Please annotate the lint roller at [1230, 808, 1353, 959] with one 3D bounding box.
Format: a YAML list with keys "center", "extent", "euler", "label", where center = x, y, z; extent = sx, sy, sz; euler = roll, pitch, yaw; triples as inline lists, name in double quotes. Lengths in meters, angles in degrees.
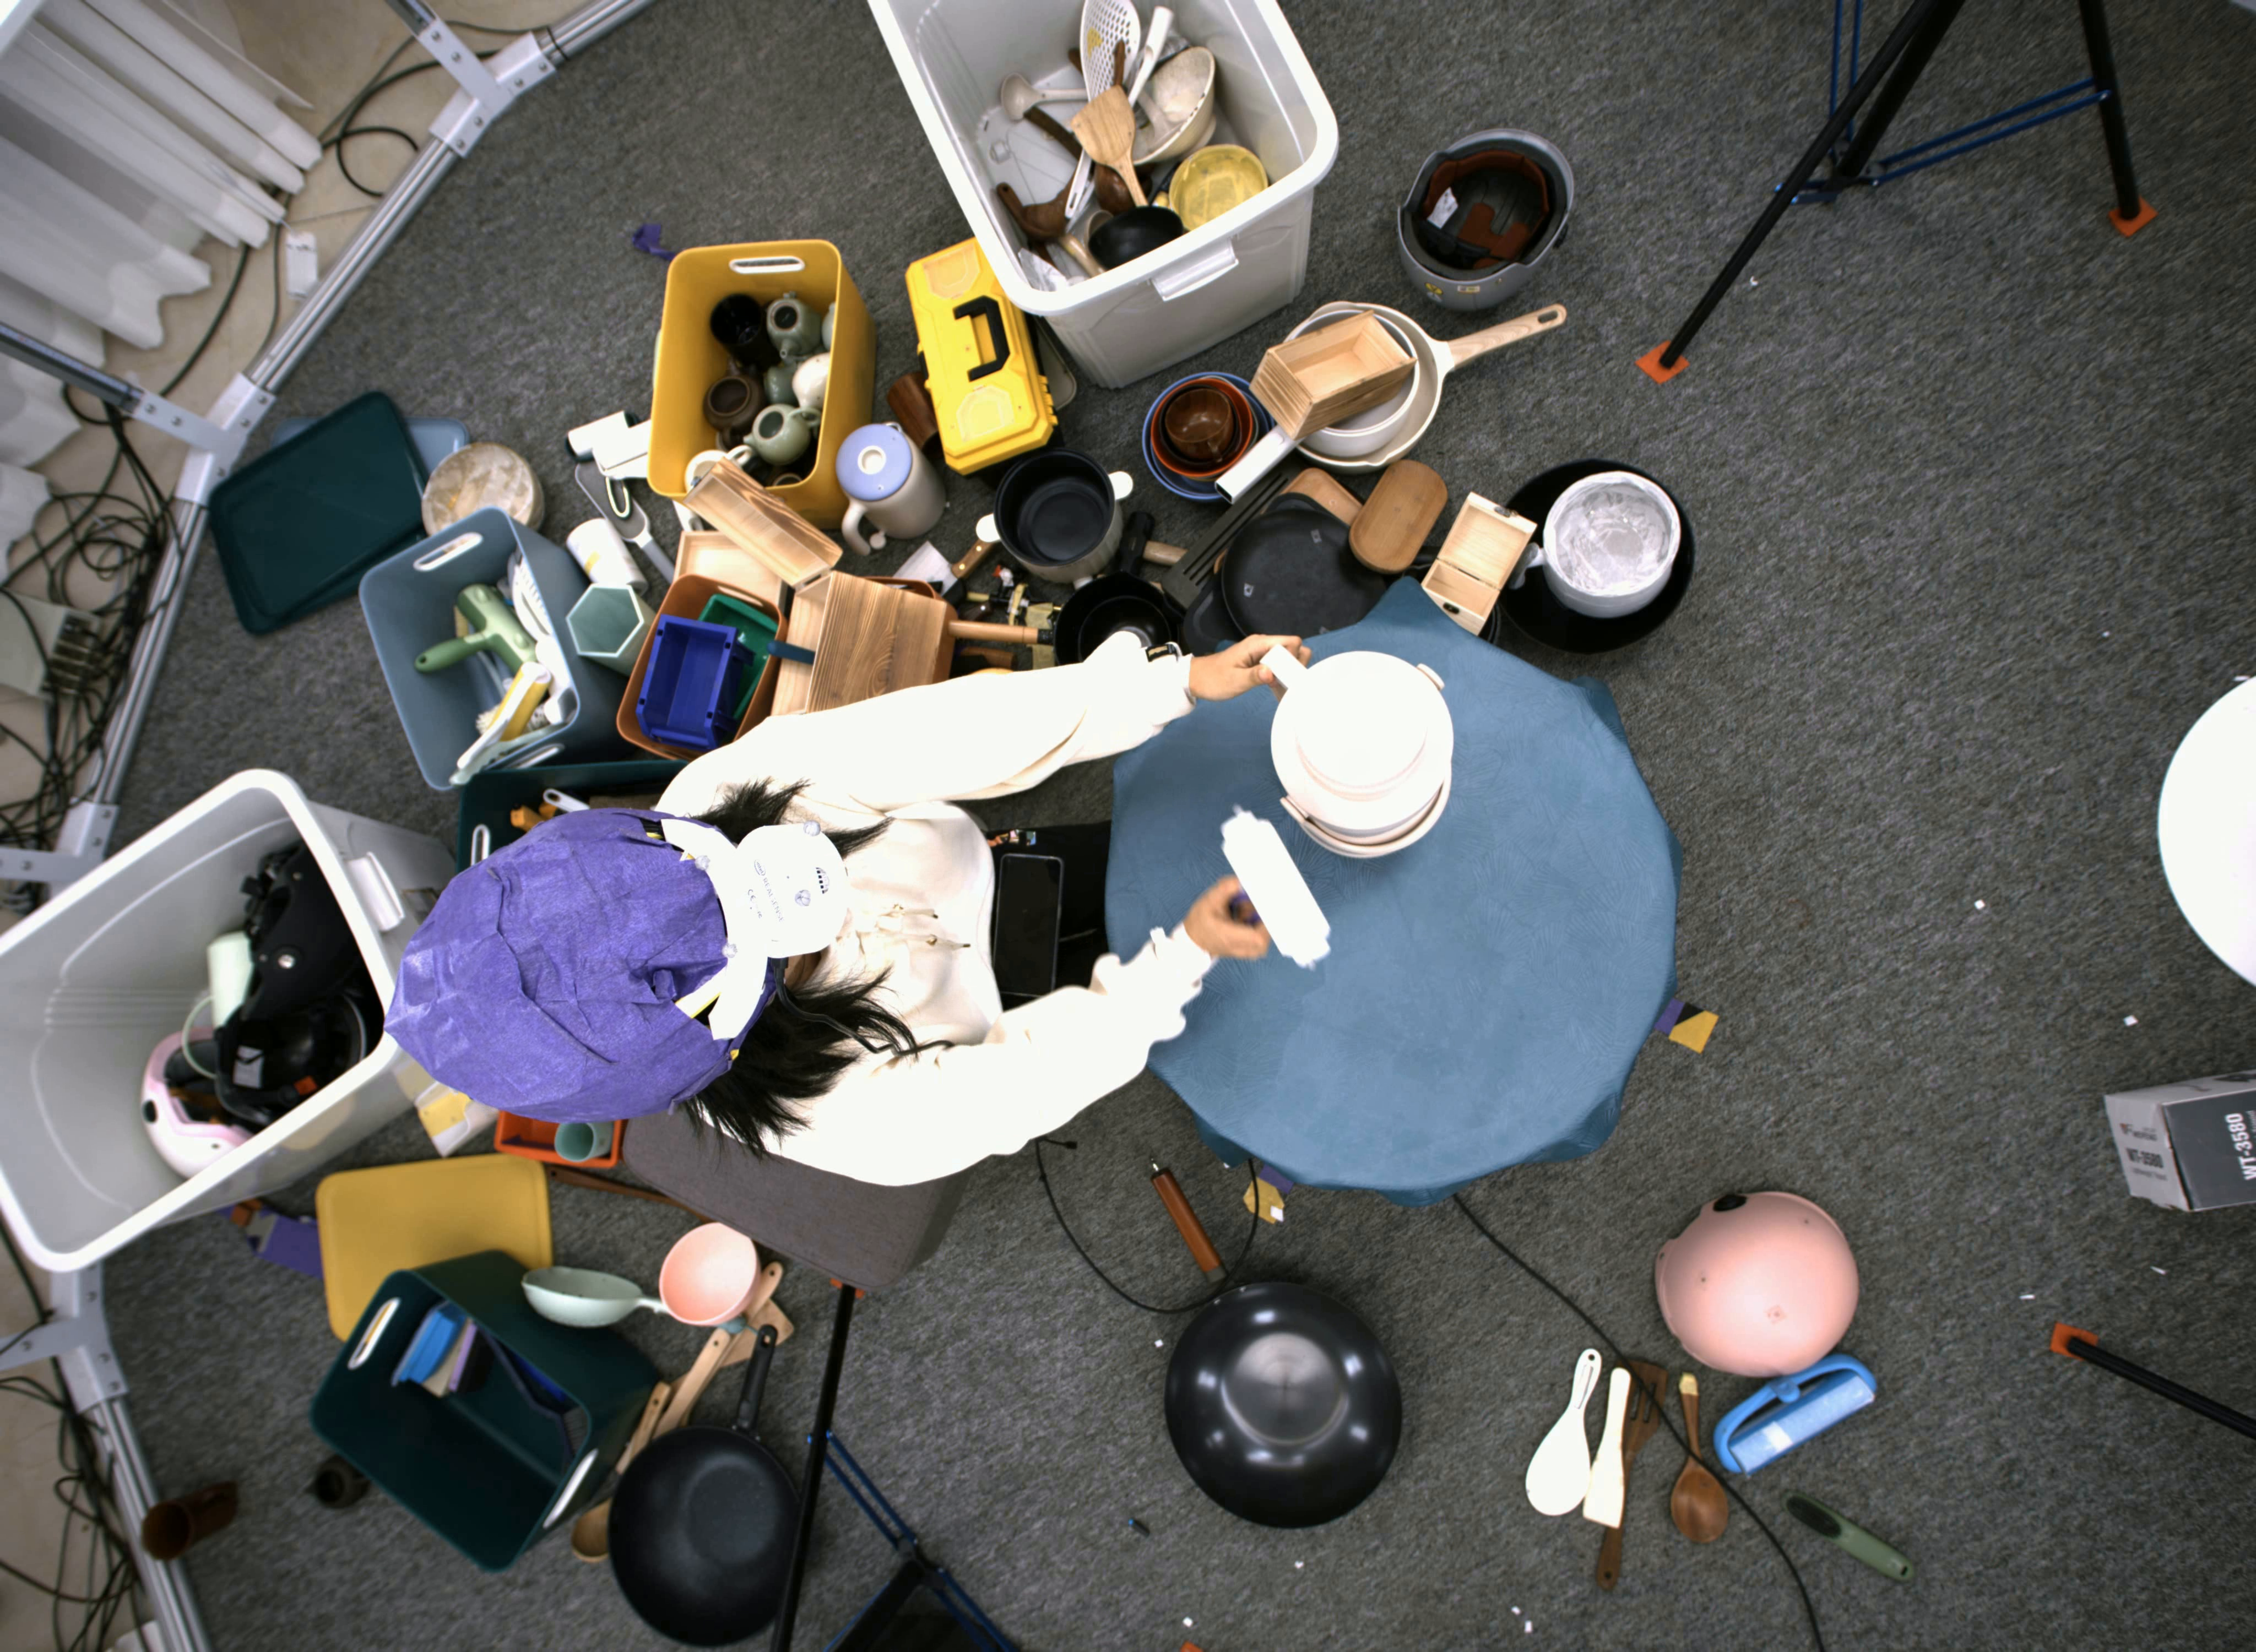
- center: [0.119, 0.066, 1.216]
  extent: [0.049, 0.184, 0.132]
  euler: [-26, 85, -29]
  label: "lint roller"

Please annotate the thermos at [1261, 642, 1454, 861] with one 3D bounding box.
- center: [0.209, -0.075, 1.279]
  extent: [0.176, 0.407, 0.206]
  euler: [-45, 79, 4]
  label: "thermos"
